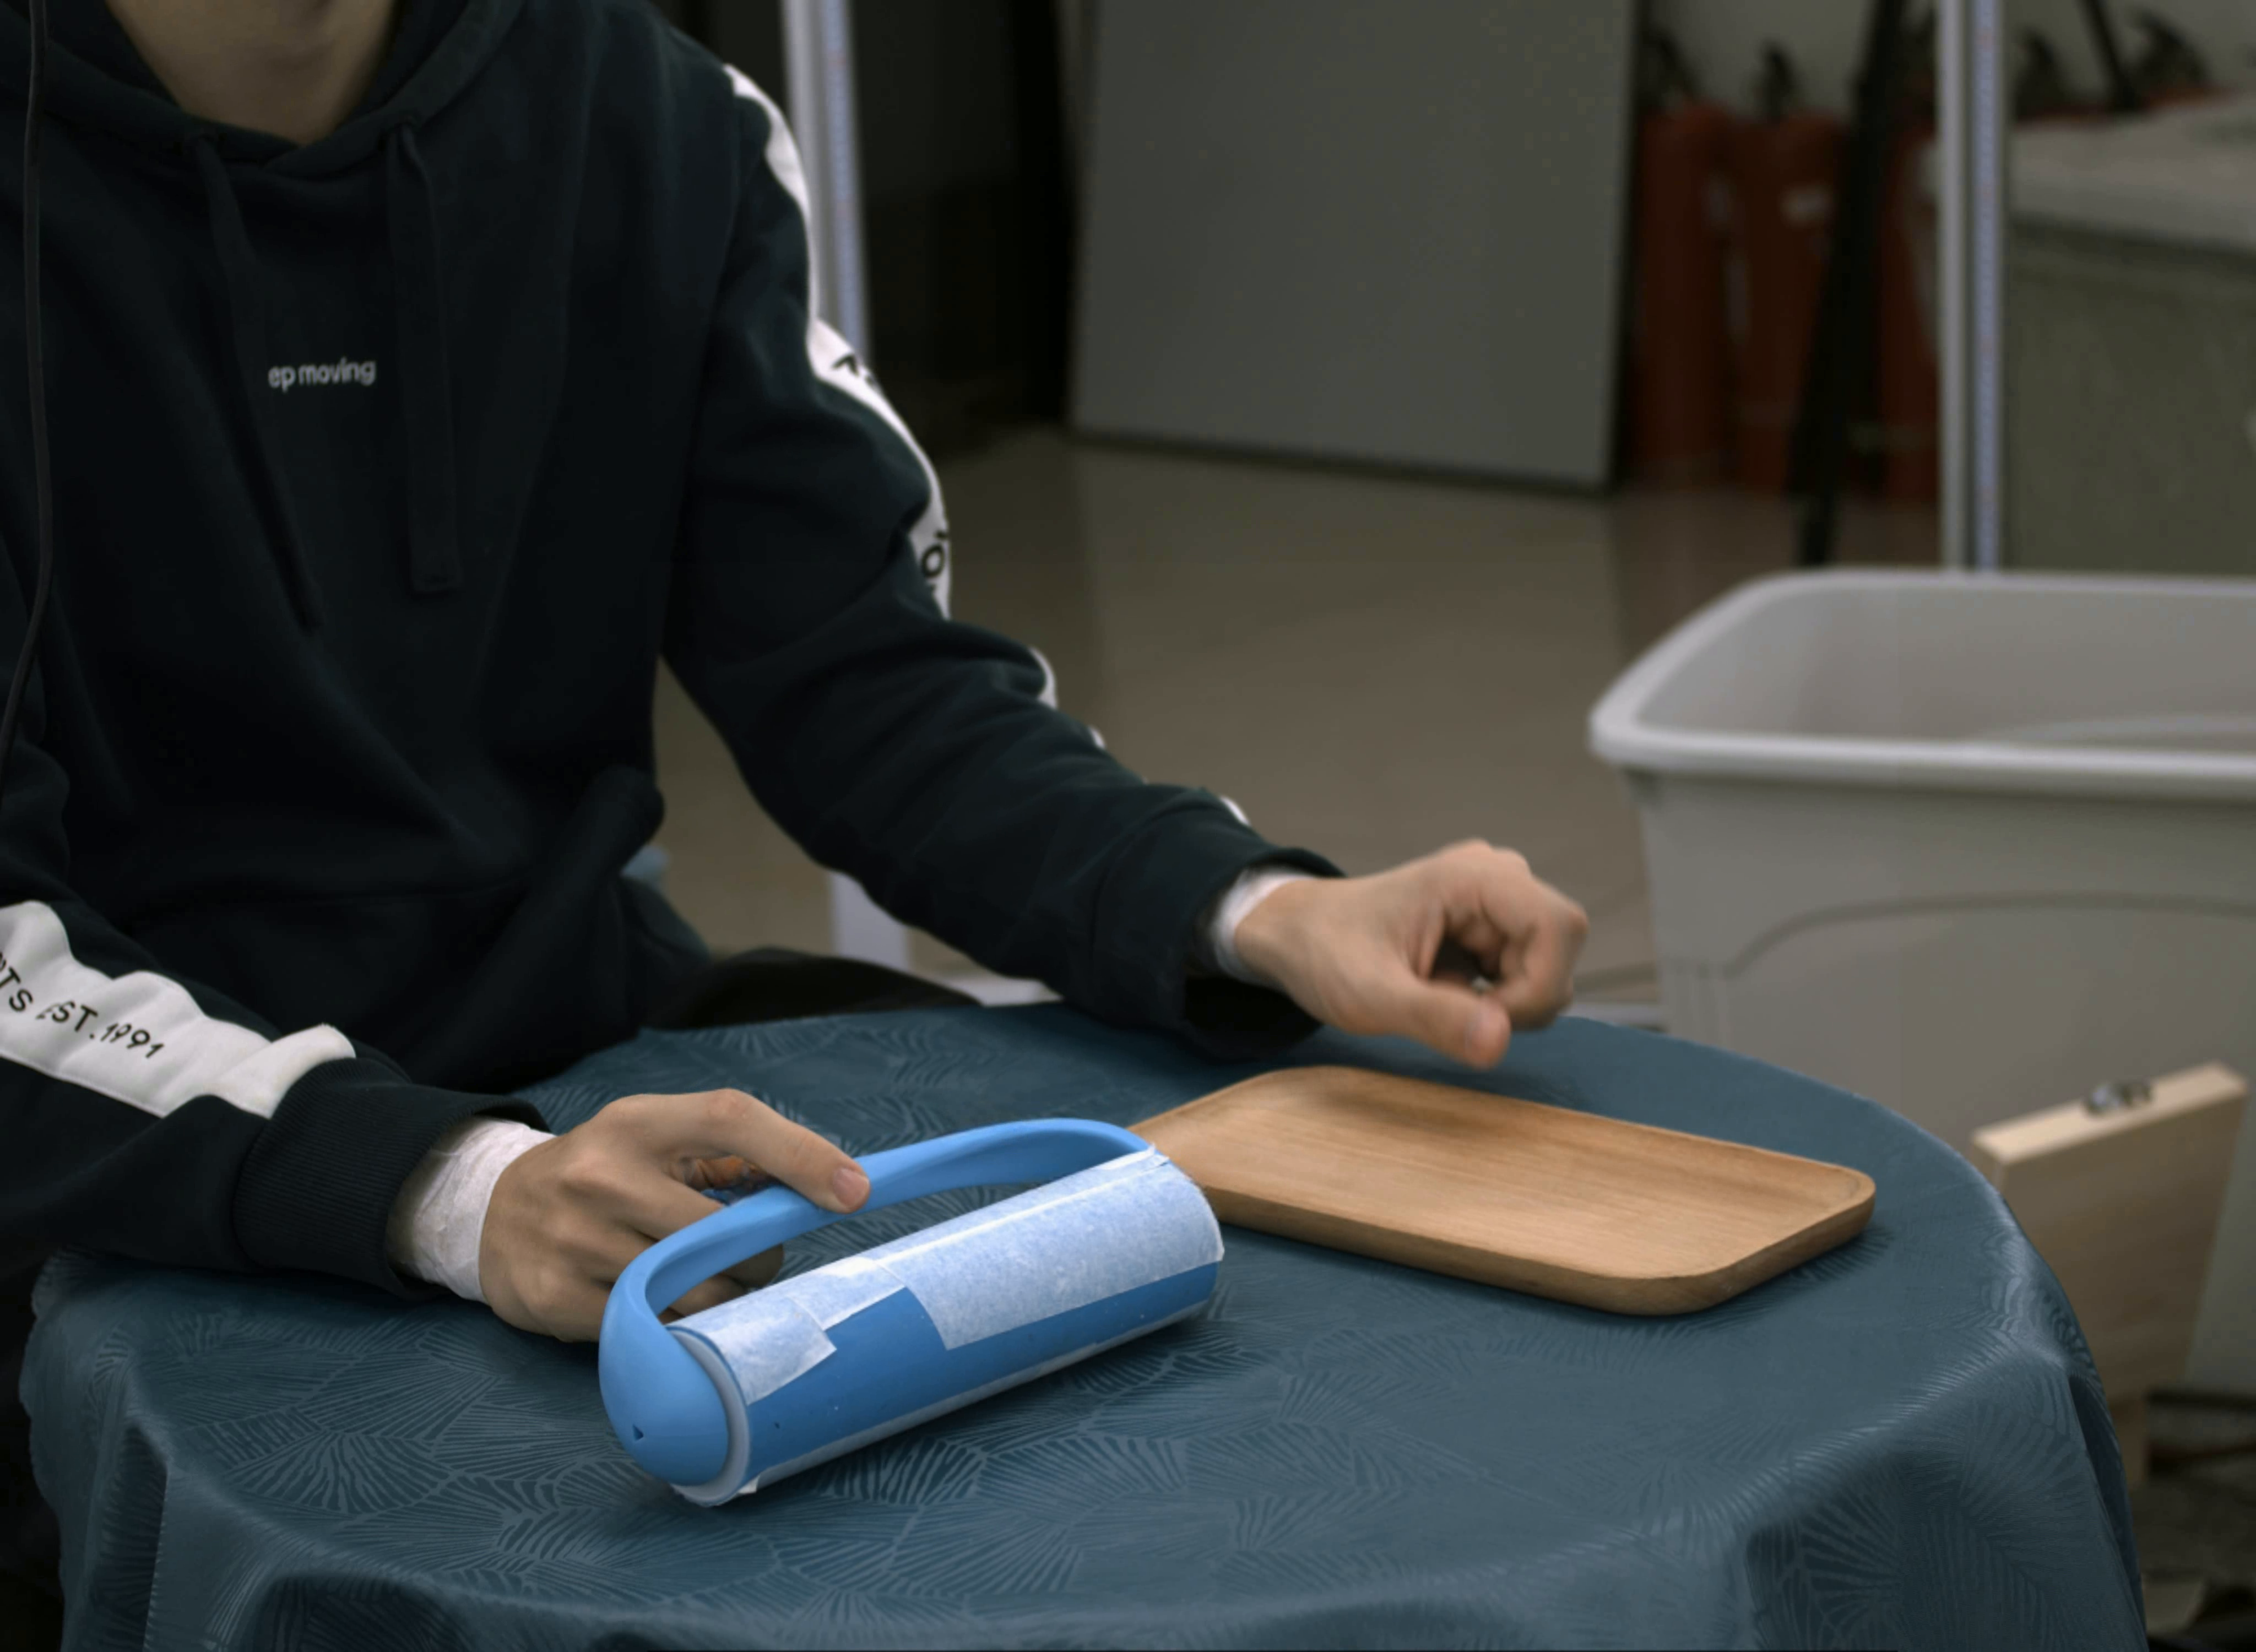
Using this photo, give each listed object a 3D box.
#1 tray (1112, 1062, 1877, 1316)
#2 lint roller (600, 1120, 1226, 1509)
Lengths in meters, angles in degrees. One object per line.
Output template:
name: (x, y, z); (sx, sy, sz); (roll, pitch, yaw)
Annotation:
tray: (0.113, 0.115, 1.728); (0.253, 0.023, 0.128); (9, 17, 44)
lint roller: (-0.099, 0.136, 1.618); (0.182, 0.068, 0.224); (10, 21, 42)
